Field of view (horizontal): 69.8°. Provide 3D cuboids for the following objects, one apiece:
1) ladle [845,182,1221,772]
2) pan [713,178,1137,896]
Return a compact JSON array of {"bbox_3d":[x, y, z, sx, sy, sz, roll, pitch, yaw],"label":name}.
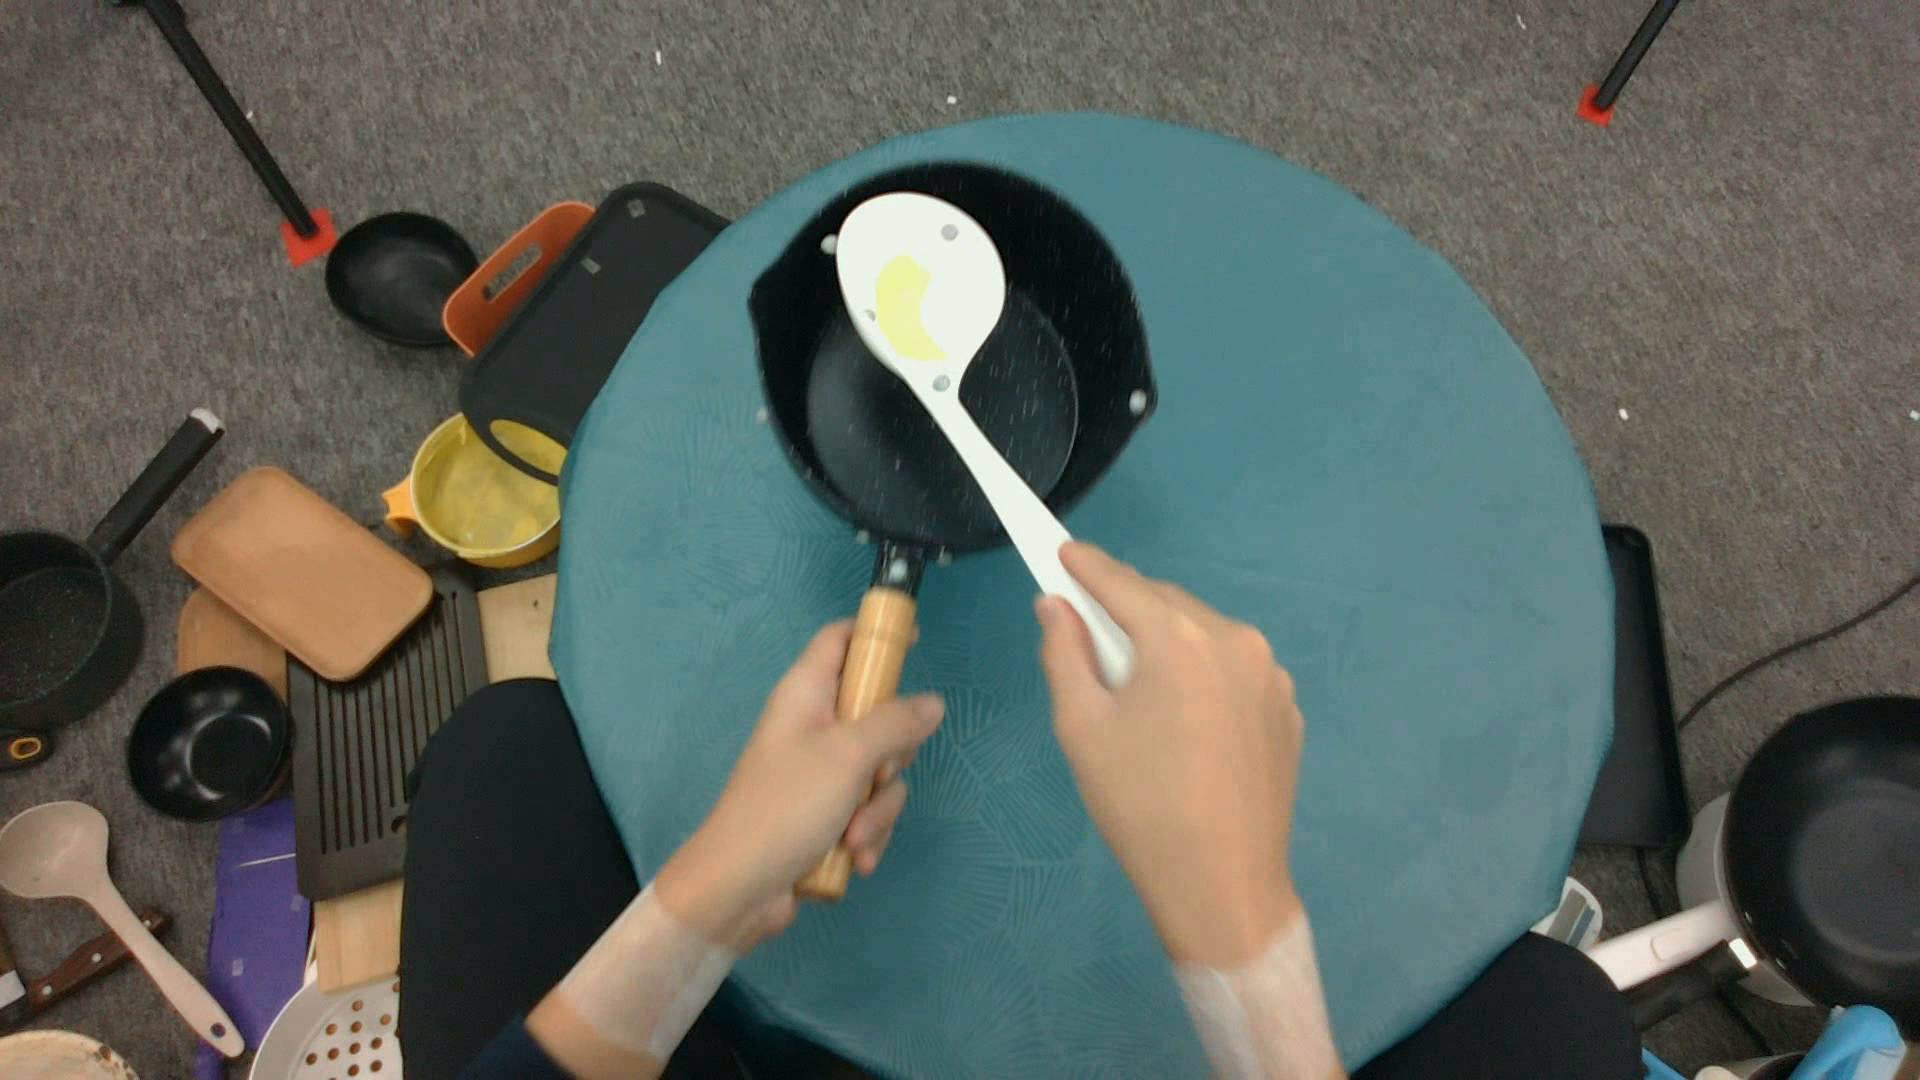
[{"bbox_3d":[0.030,-0.039,0.585,0.090,0.069,0.293,6,41,-43],"label":"ladle"},{"bbox_3d":[-0.033,-0.003,0.655,0.207,0.108,0.343,13,75,-3],"label":"pan"}]
